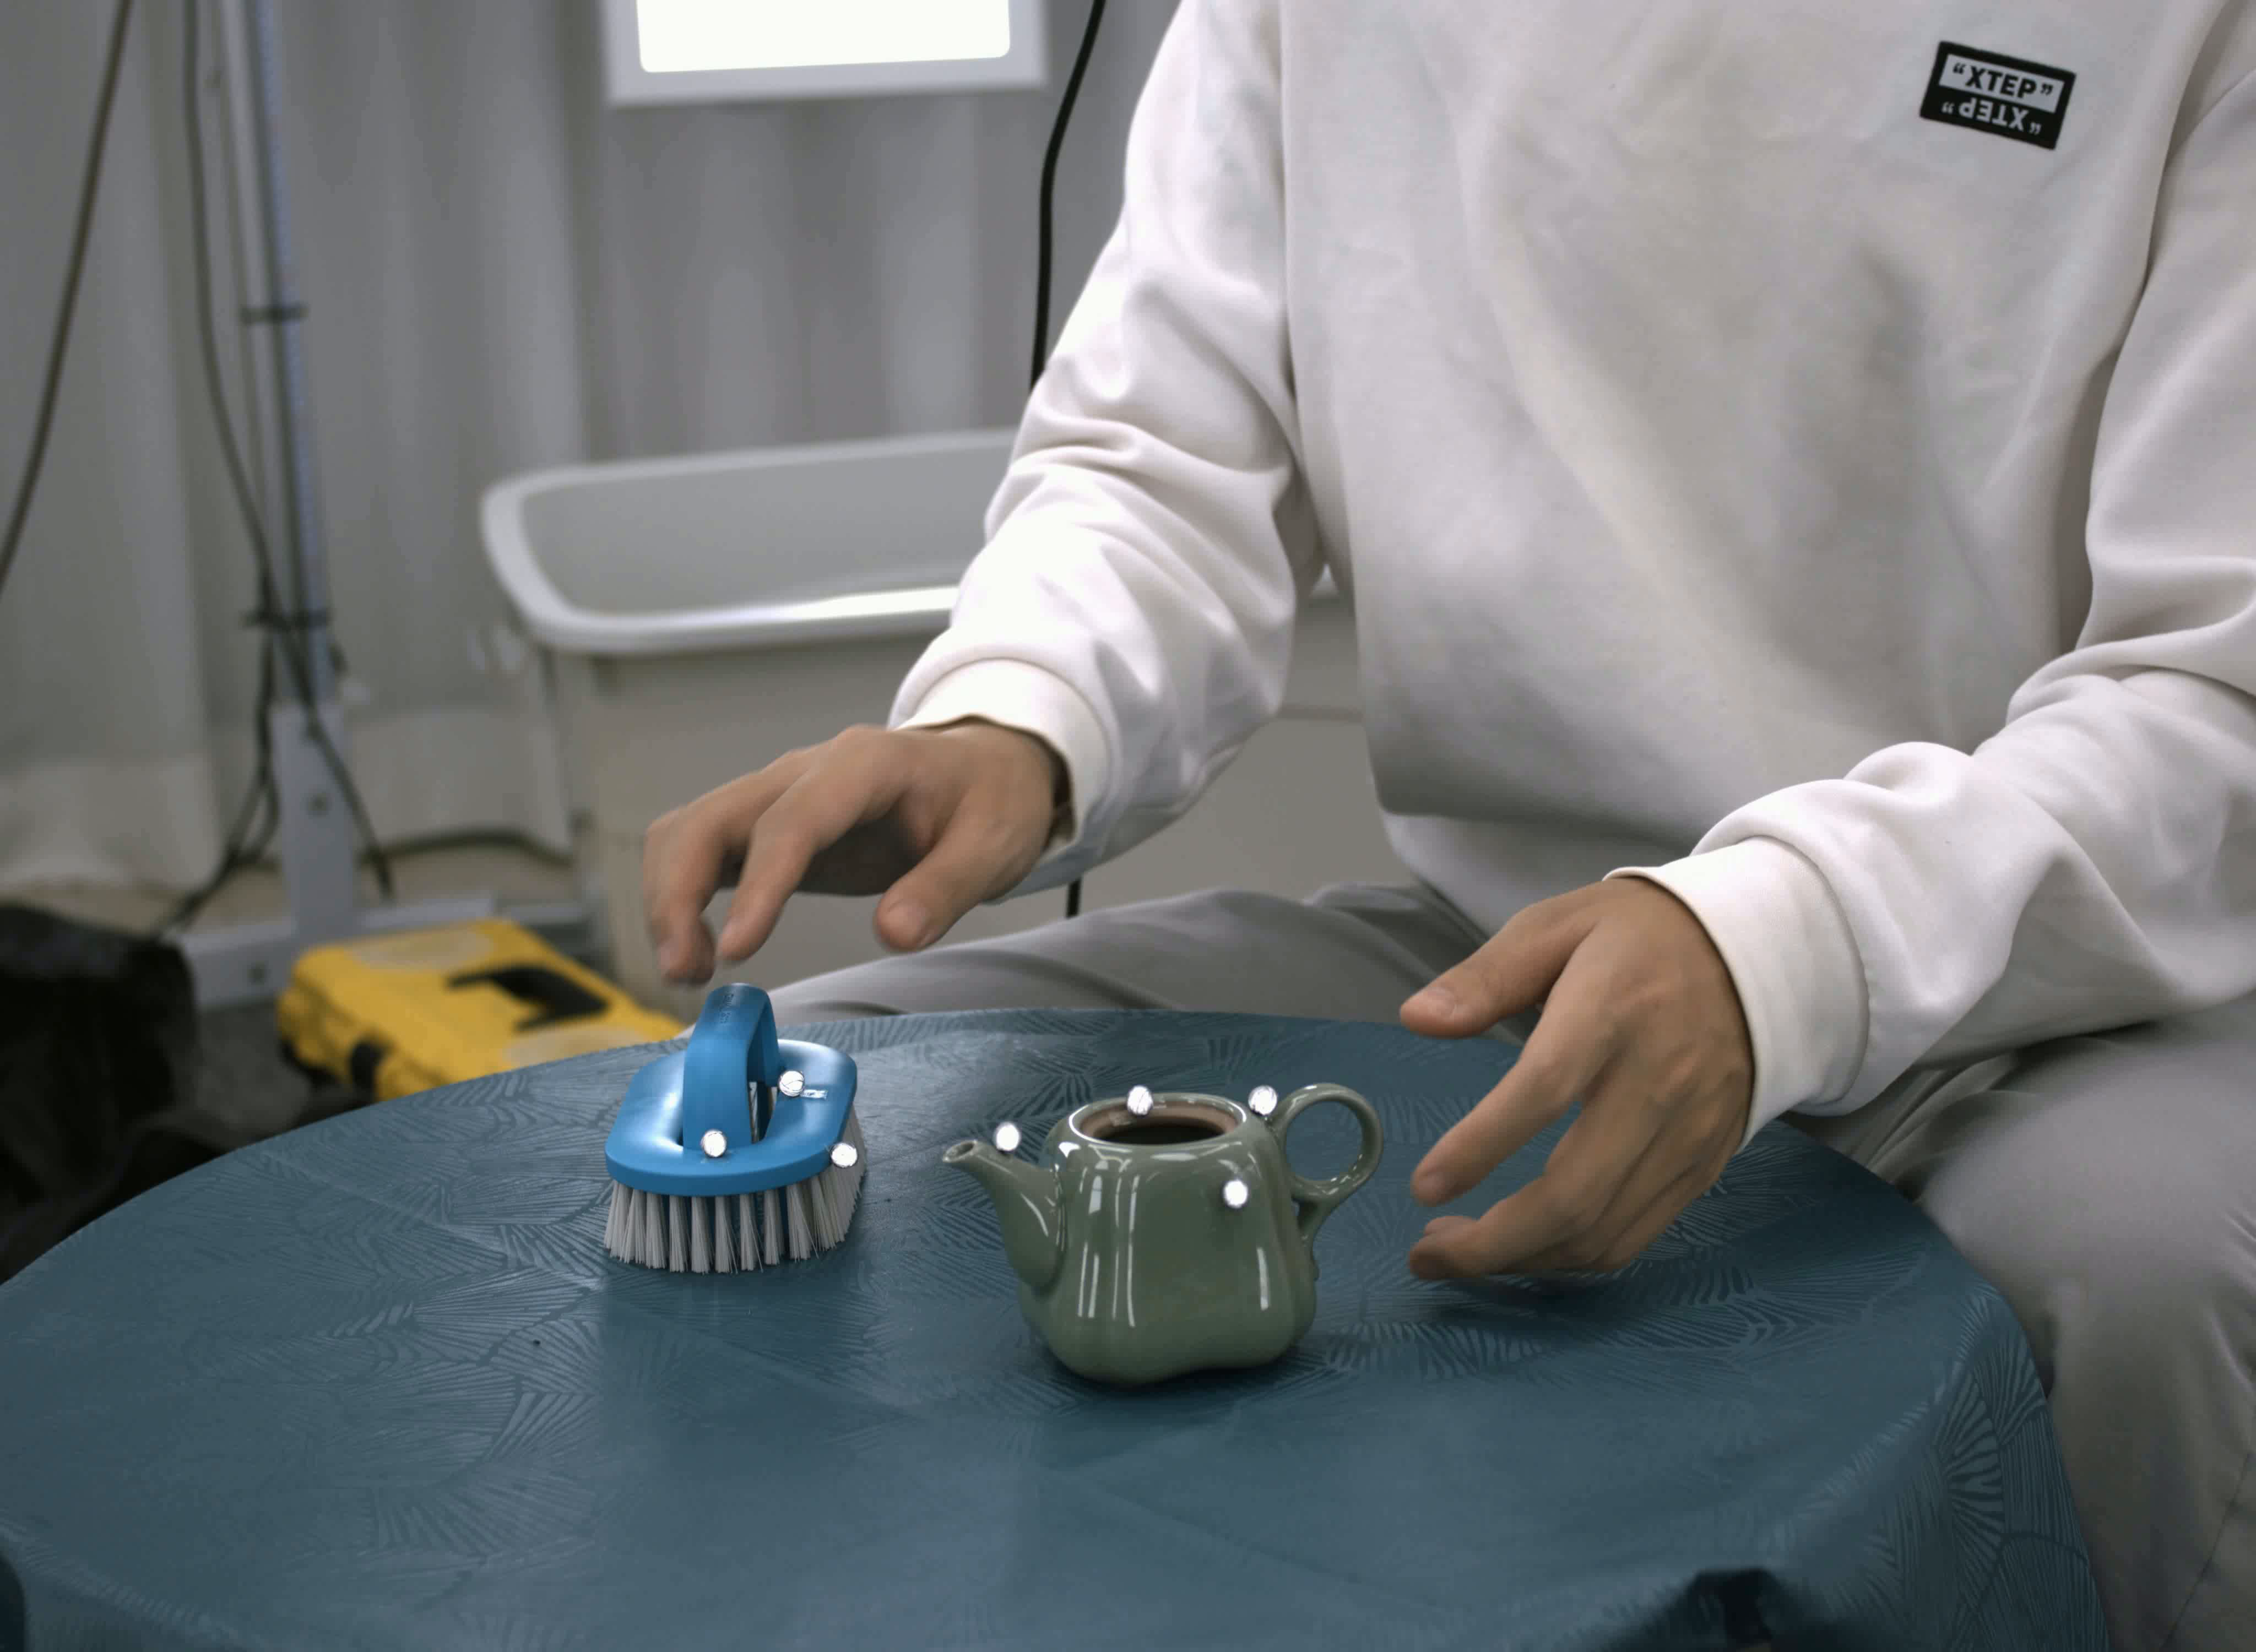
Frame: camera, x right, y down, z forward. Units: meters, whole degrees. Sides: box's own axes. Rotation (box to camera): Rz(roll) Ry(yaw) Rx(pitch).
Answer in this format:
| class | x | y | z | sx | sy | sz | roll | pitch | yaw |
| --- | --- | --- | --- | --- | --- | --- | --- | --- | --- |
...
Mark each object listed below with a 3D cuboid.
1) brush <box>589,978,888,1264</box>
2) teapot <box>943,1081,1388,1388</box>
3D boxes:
| class | x | y | z | sx | sy | sz | roll | pitch | yaw |
| --- | --- | --- | --- | --- | --- | --- | --- | --- | --- |
| brush | -0.124 | 0.087 | 1.720 | 0.084 | 0.063 | 0.142 | -6 | 13 | 6 |
| teapot | 0.012 | 0.116 | 1.569 | 0.132 | 0.075 | 0.080 | -7 | 15 | -16 |
